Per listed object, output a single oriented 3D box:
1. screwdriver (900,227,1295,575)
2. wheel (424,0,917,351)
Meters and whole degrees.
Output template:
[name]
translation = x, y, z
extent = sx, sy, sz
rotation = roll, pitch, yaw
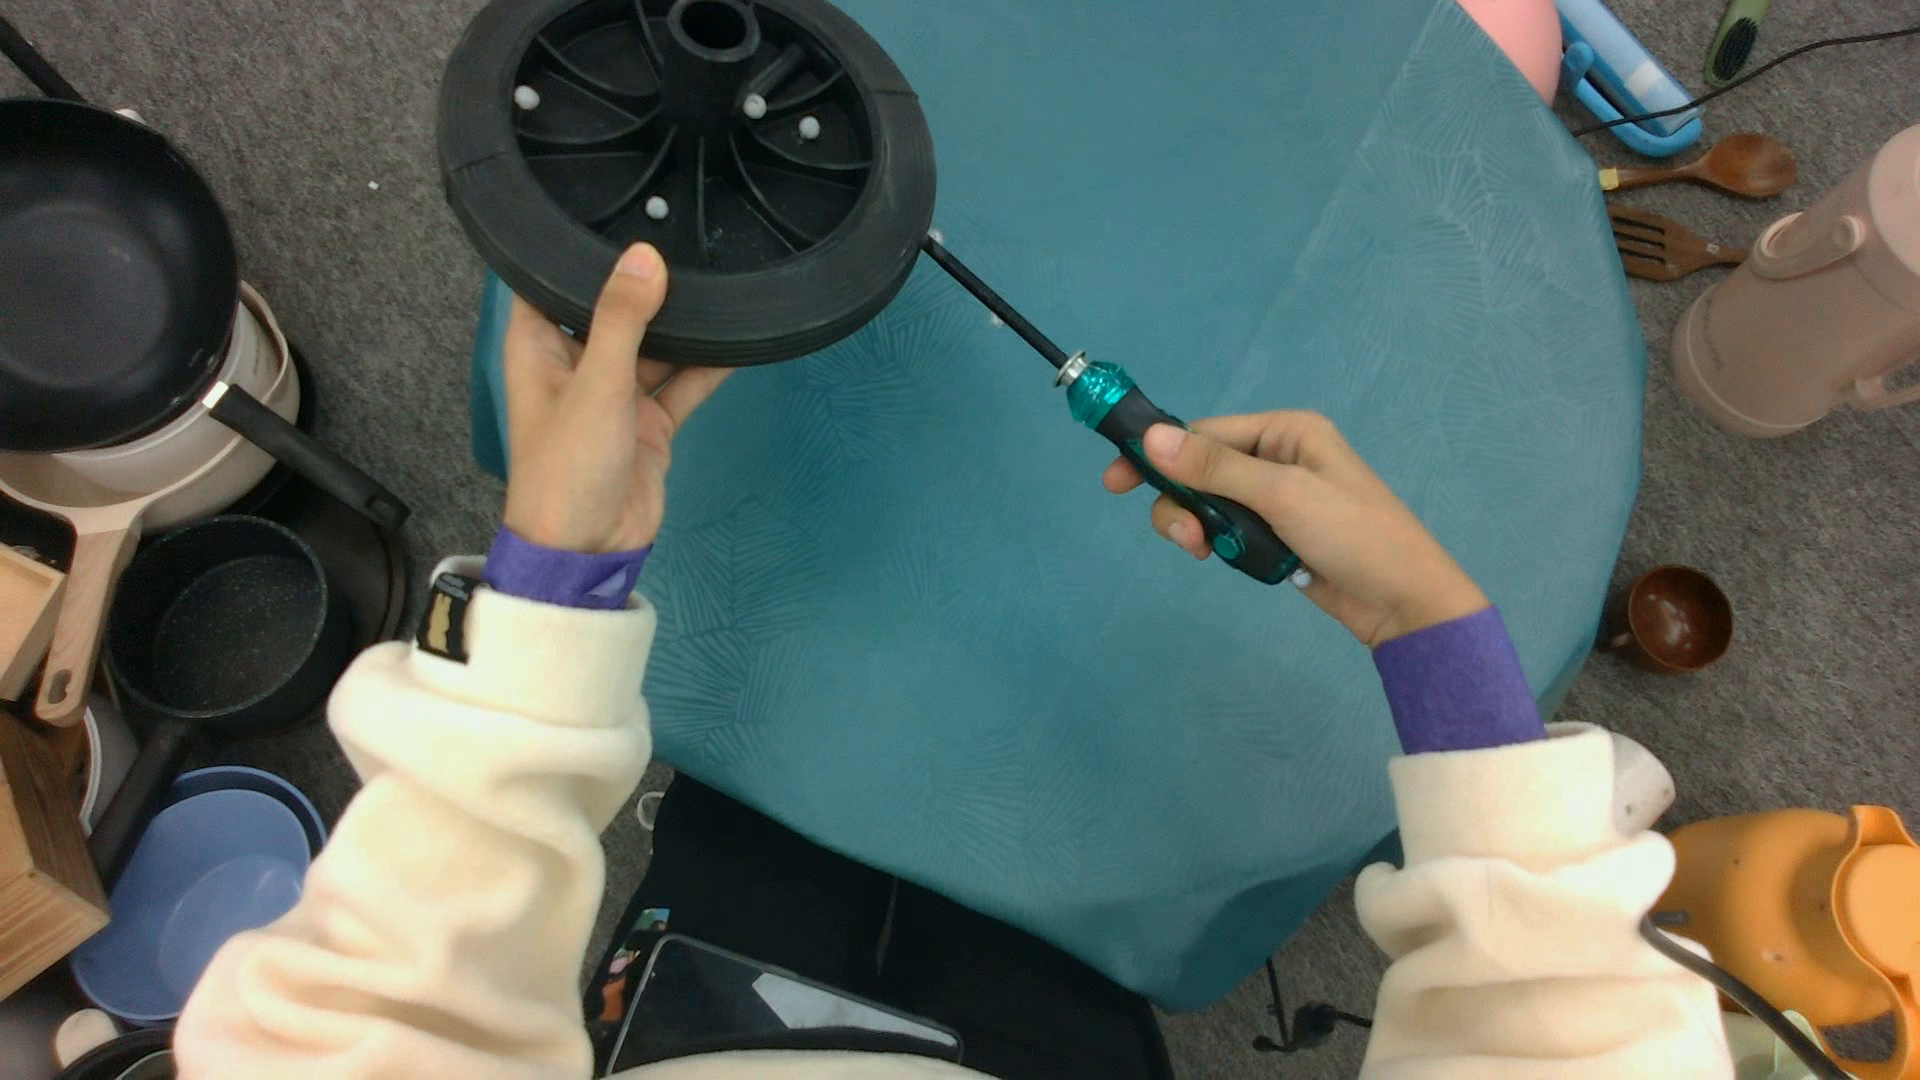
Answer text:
[screwdriver]
translation = 0.048, -0.056, 0.523
extent = 0.190, 0.033, 0.034
rotation = 41, 75, 7
[wheel]
translation = -0.102, -0.166, 0.519
extent = 0.187, 0.079, 0.190
rotation = 15, 59, -10
